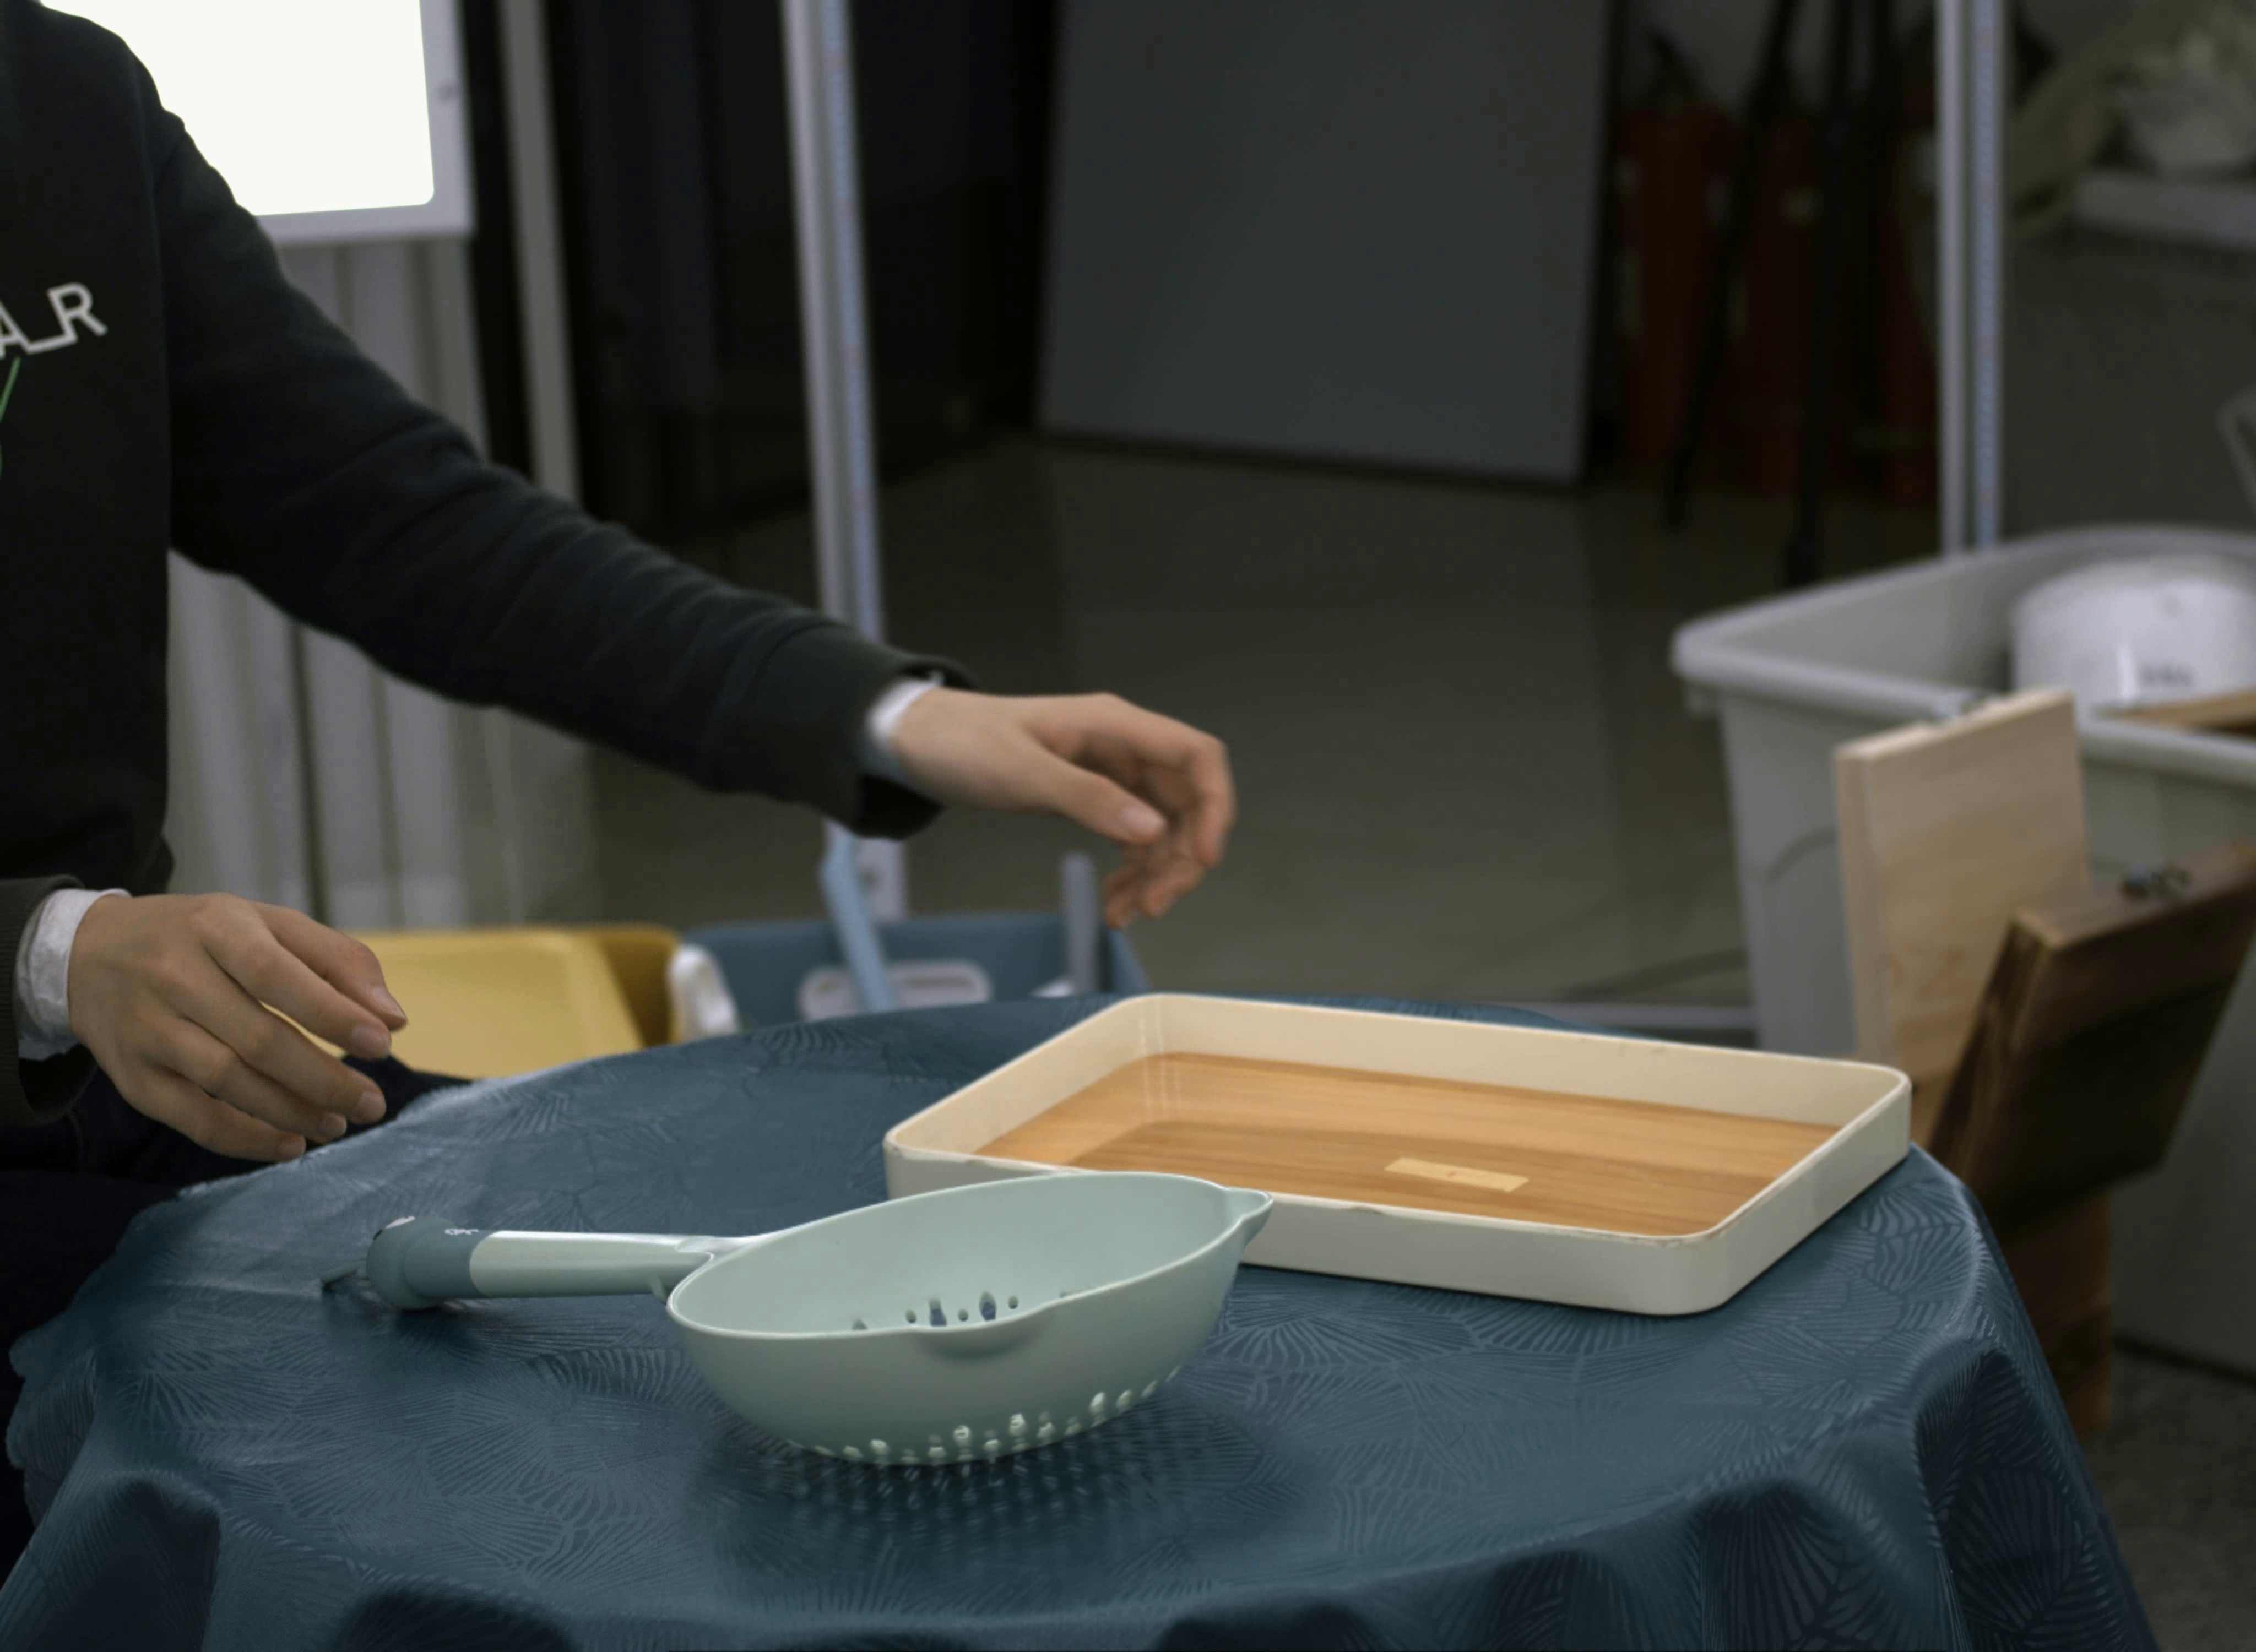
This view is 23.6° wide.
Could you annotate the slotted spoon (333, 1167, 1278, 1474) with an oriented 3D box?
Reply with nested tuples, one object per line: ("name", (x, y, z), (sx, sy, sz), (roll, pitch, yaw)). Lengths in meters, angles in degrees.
("slotted spoon", (-0.118, 0.136, 1.608), (0.362, 0.076, 0.166), (8, 18, 40))

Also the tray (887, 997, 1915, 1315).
("tray", (0.089, 0.105, 1.758), (0.301, 0.028, 0.188), (5, 16, 30))
